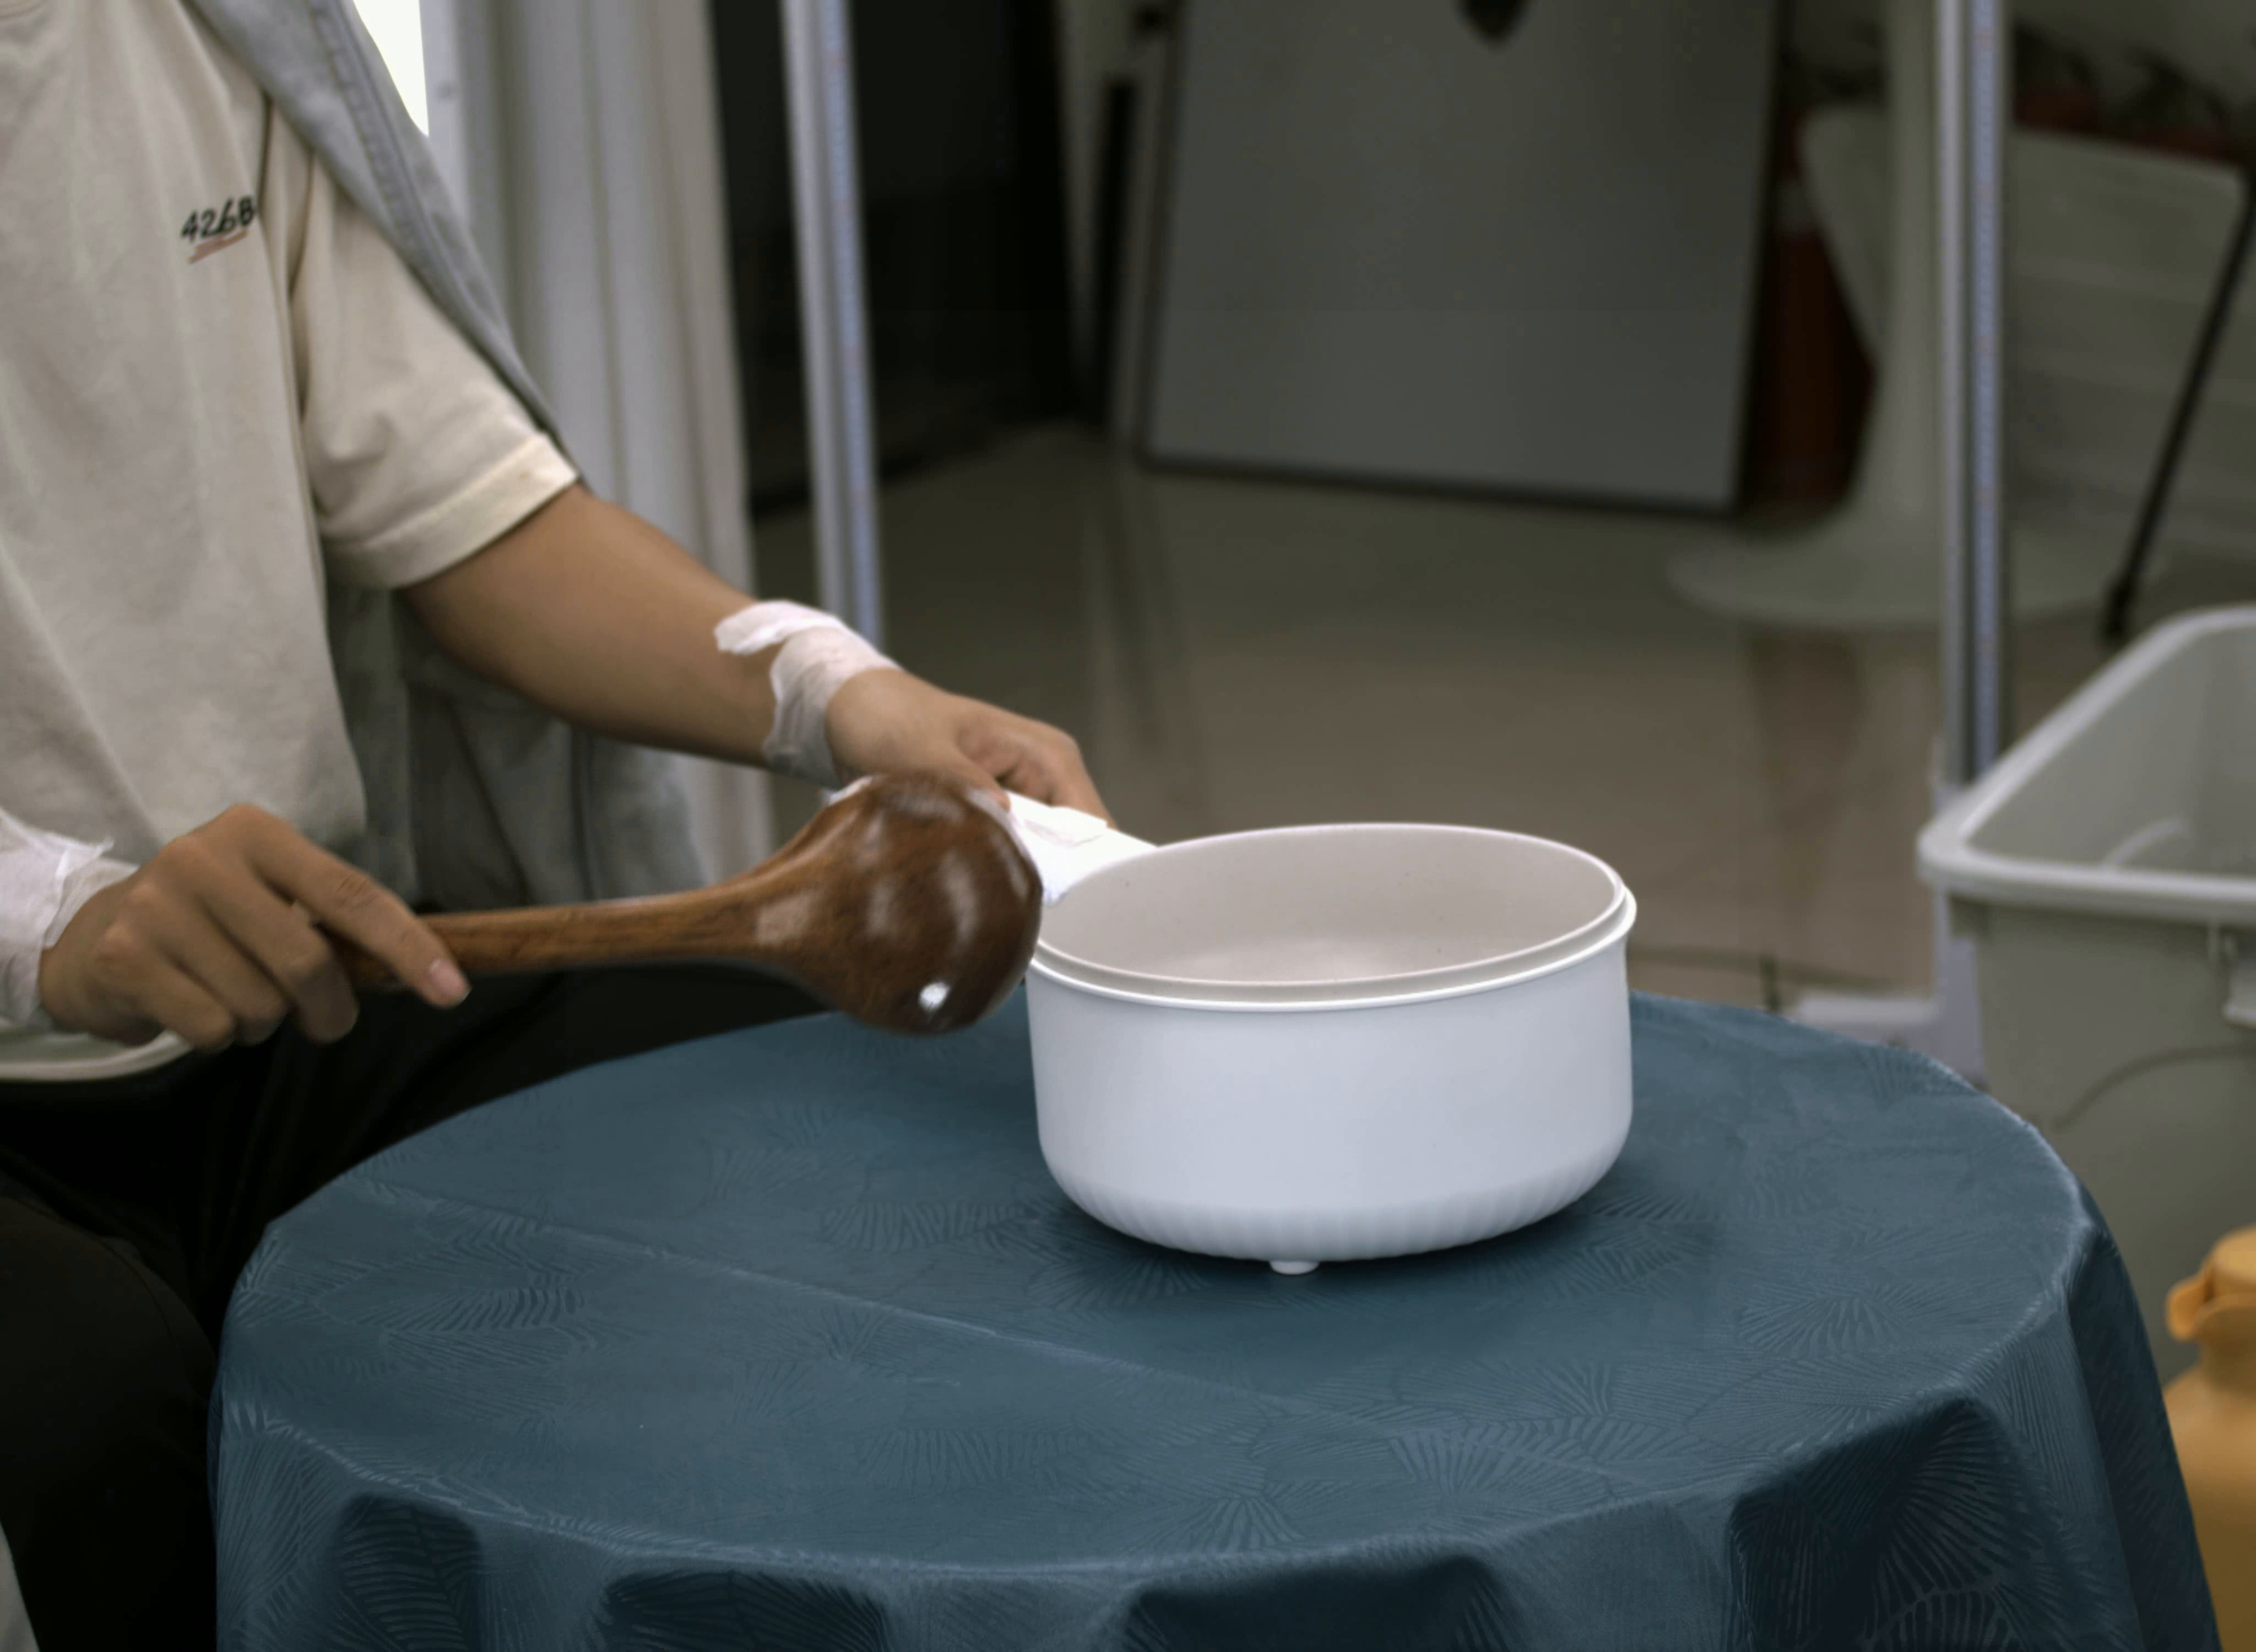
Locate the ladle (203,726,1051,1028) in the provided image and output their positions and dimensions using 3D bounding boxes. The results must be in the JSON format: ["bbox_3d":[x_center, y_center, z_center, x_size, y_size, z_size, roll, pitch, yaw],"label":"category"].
[{"bbox_3d":[-0.153,0.028,1.657,0.275,0.083,0.075,-11,-10,28],"label":"ladle"}]

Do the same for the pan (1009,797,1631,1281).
[{"bbox_3d":[0.026,0.061,1.807,0.197,0.103,0.358,-13,15,-28],"label":"pan"}]
